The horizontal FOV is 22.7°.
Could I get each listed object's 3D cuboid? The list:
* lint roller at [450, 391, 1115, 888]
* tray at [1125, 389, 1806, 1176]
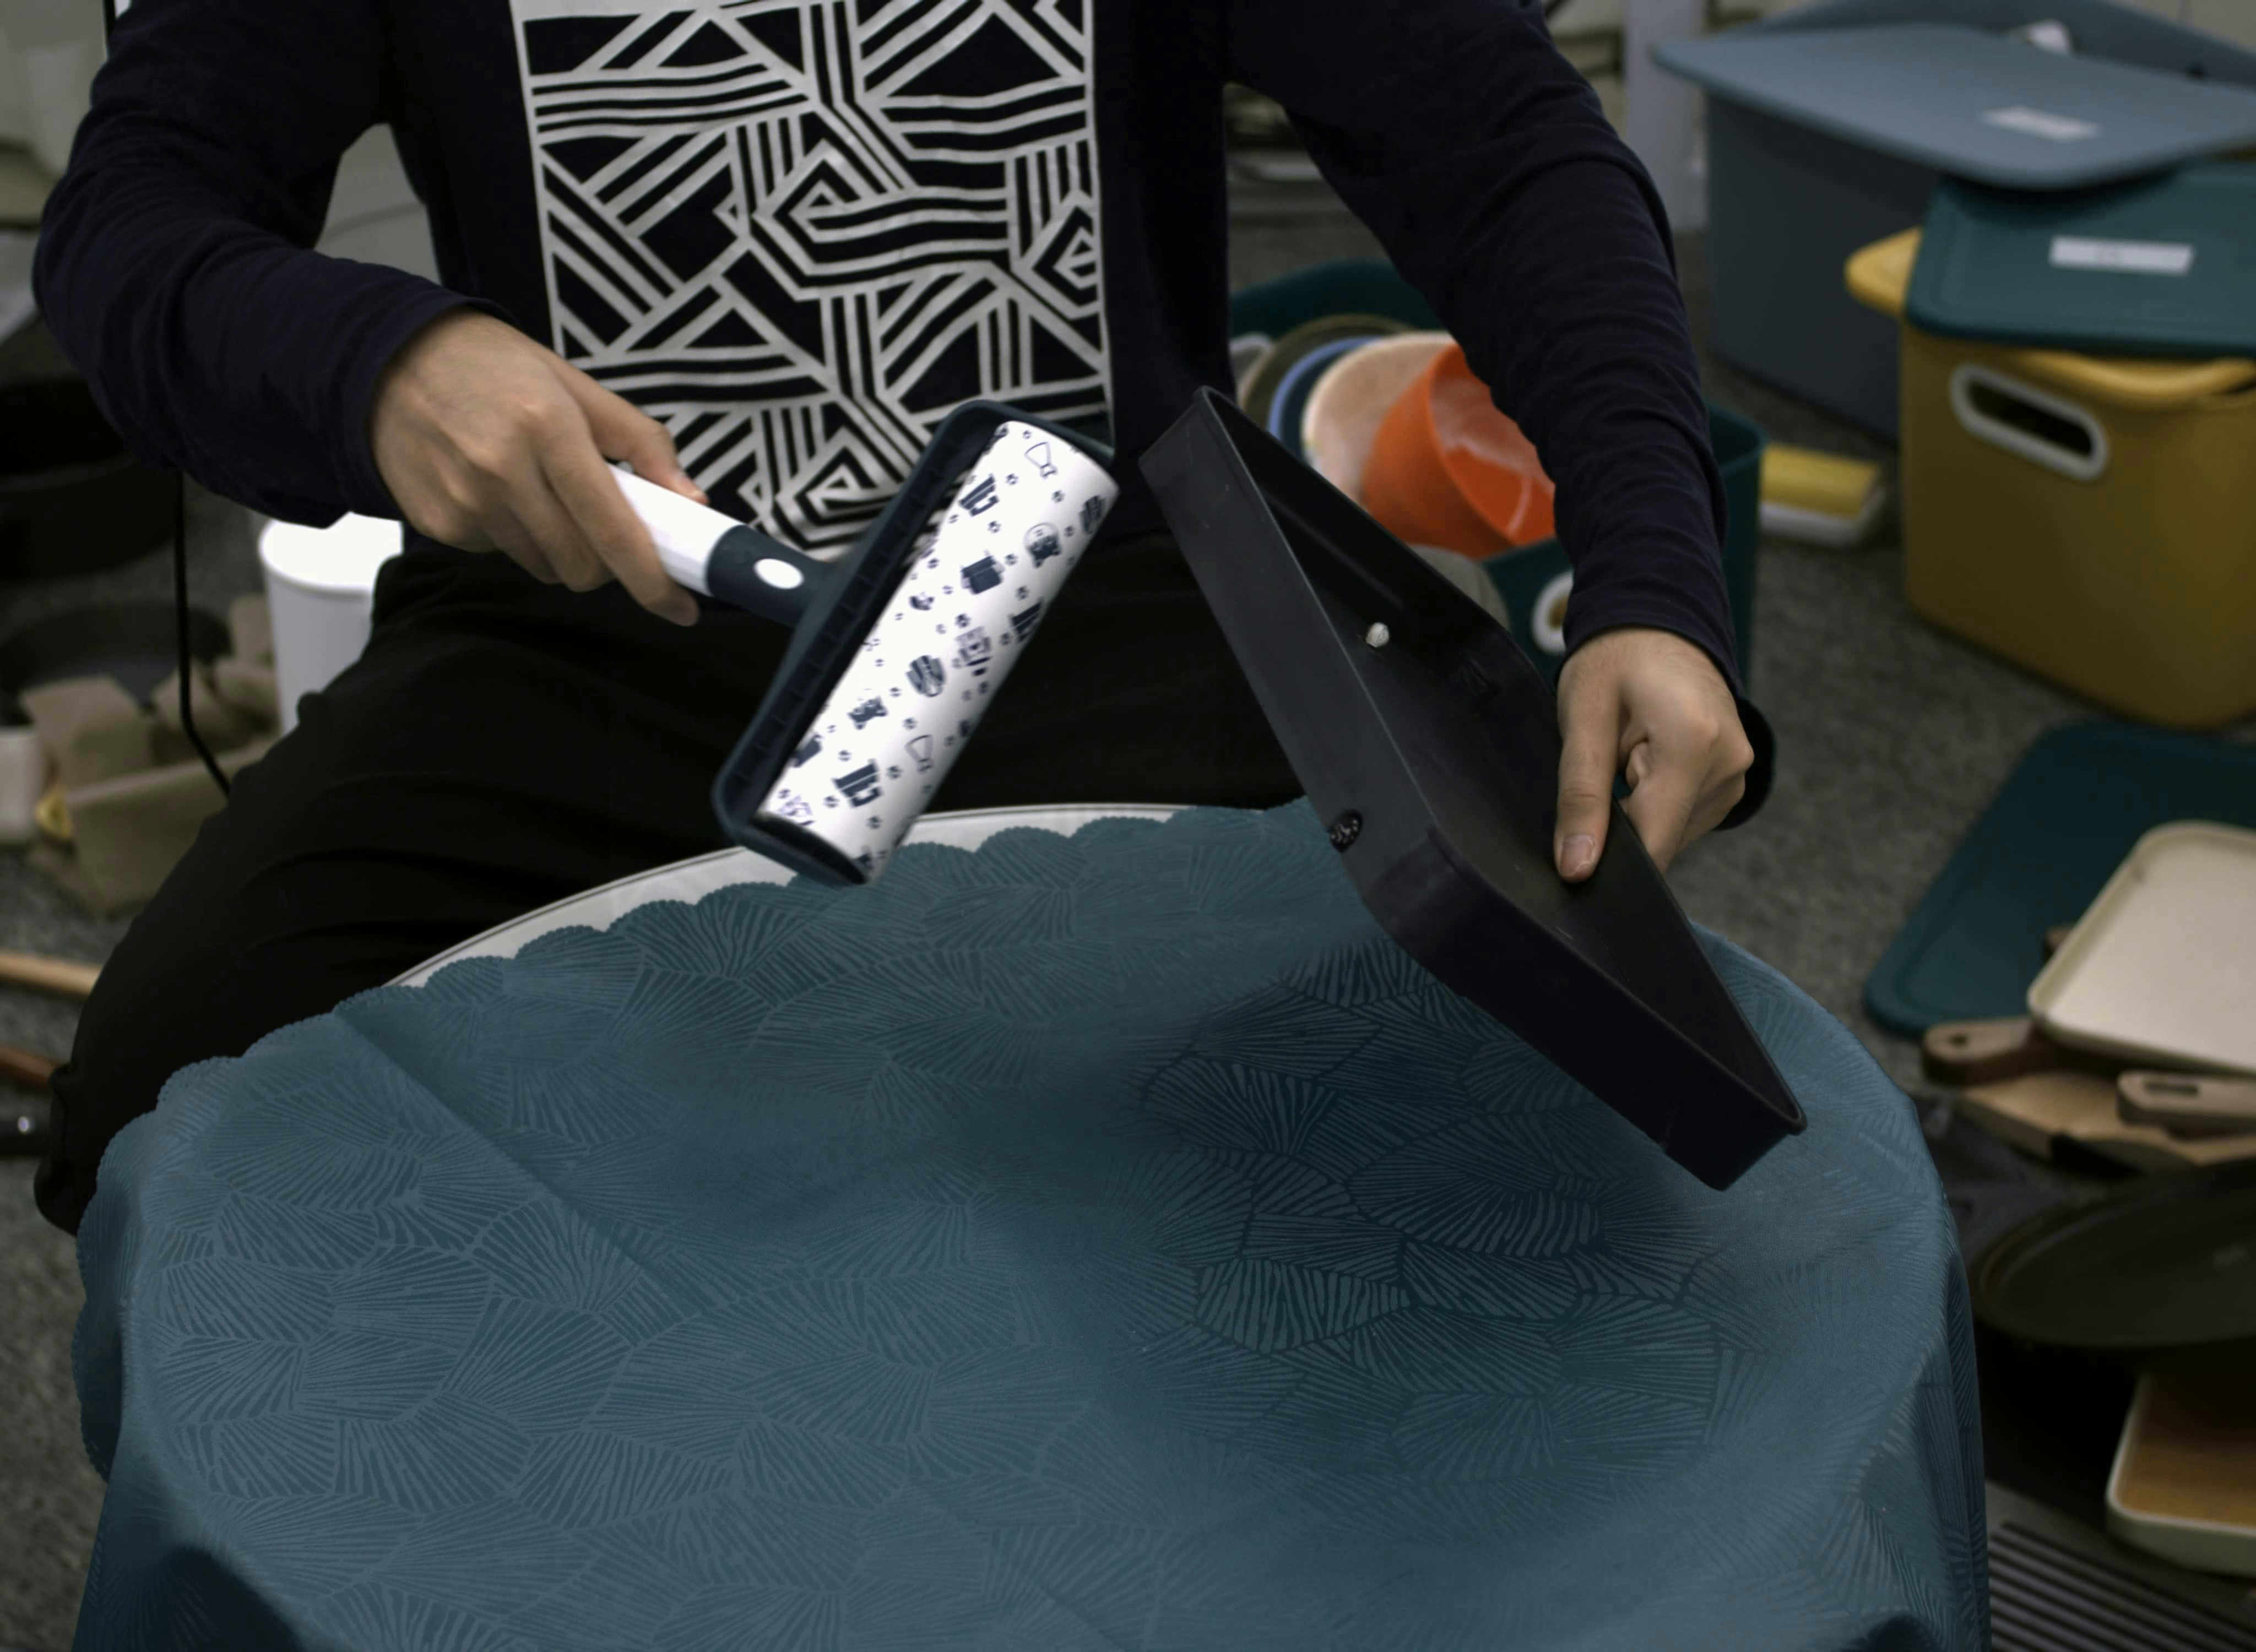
[{"bbox_3d":[-0.143,-0.094,1.936,0.246,0.050,0.178,23,74,29],"label":"lint roller"},{"bbox_3d":[0.105,-0.019,1.851,0.037,0.183,0.322,-45,32,12],"label":"tray"}]
